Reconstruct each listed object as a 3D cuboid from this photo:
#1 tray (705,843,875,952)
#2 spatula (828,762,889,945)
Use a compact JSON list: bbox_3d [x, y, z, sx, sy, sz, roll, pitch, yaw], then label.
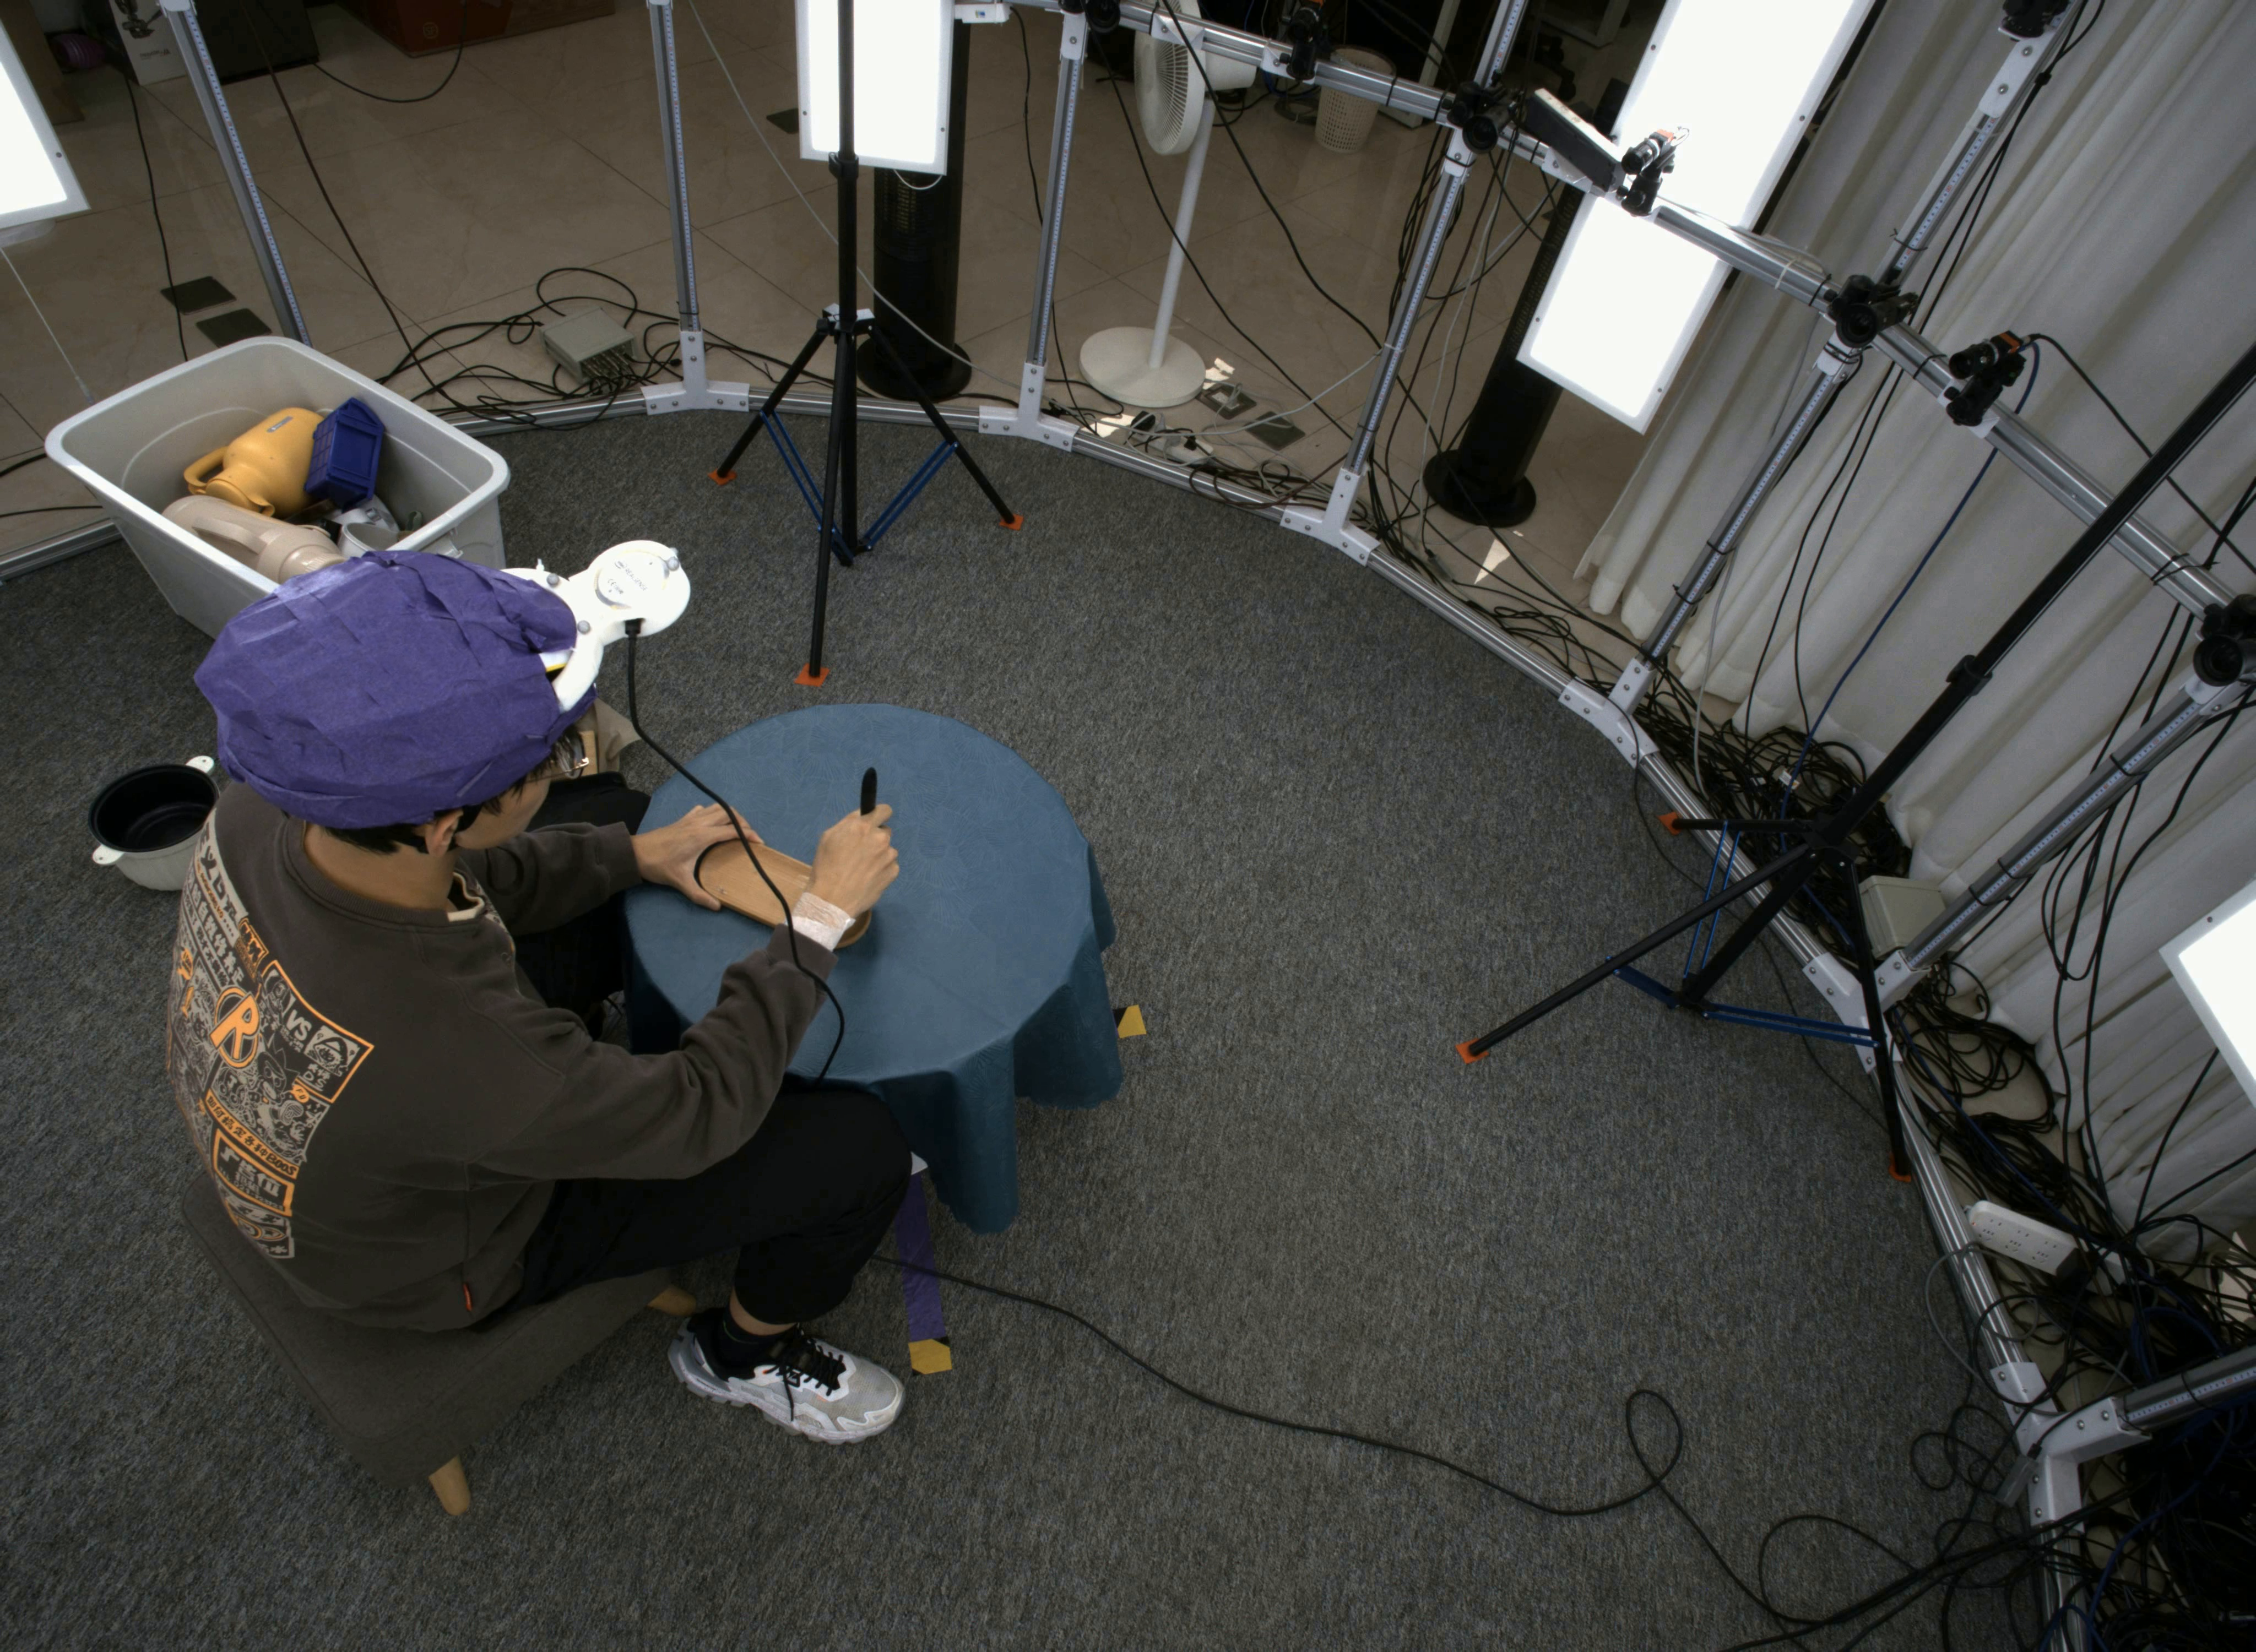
[{"bbox_3d":[-0.433,0.090,1.660,0.229,0.021,0.101,24,51,2],"label":"tray"},{"bbox_3d":[-0.315,0.028,1.521,0.039,0.334,0.099,30,54,14],"label":"spatula"}]
